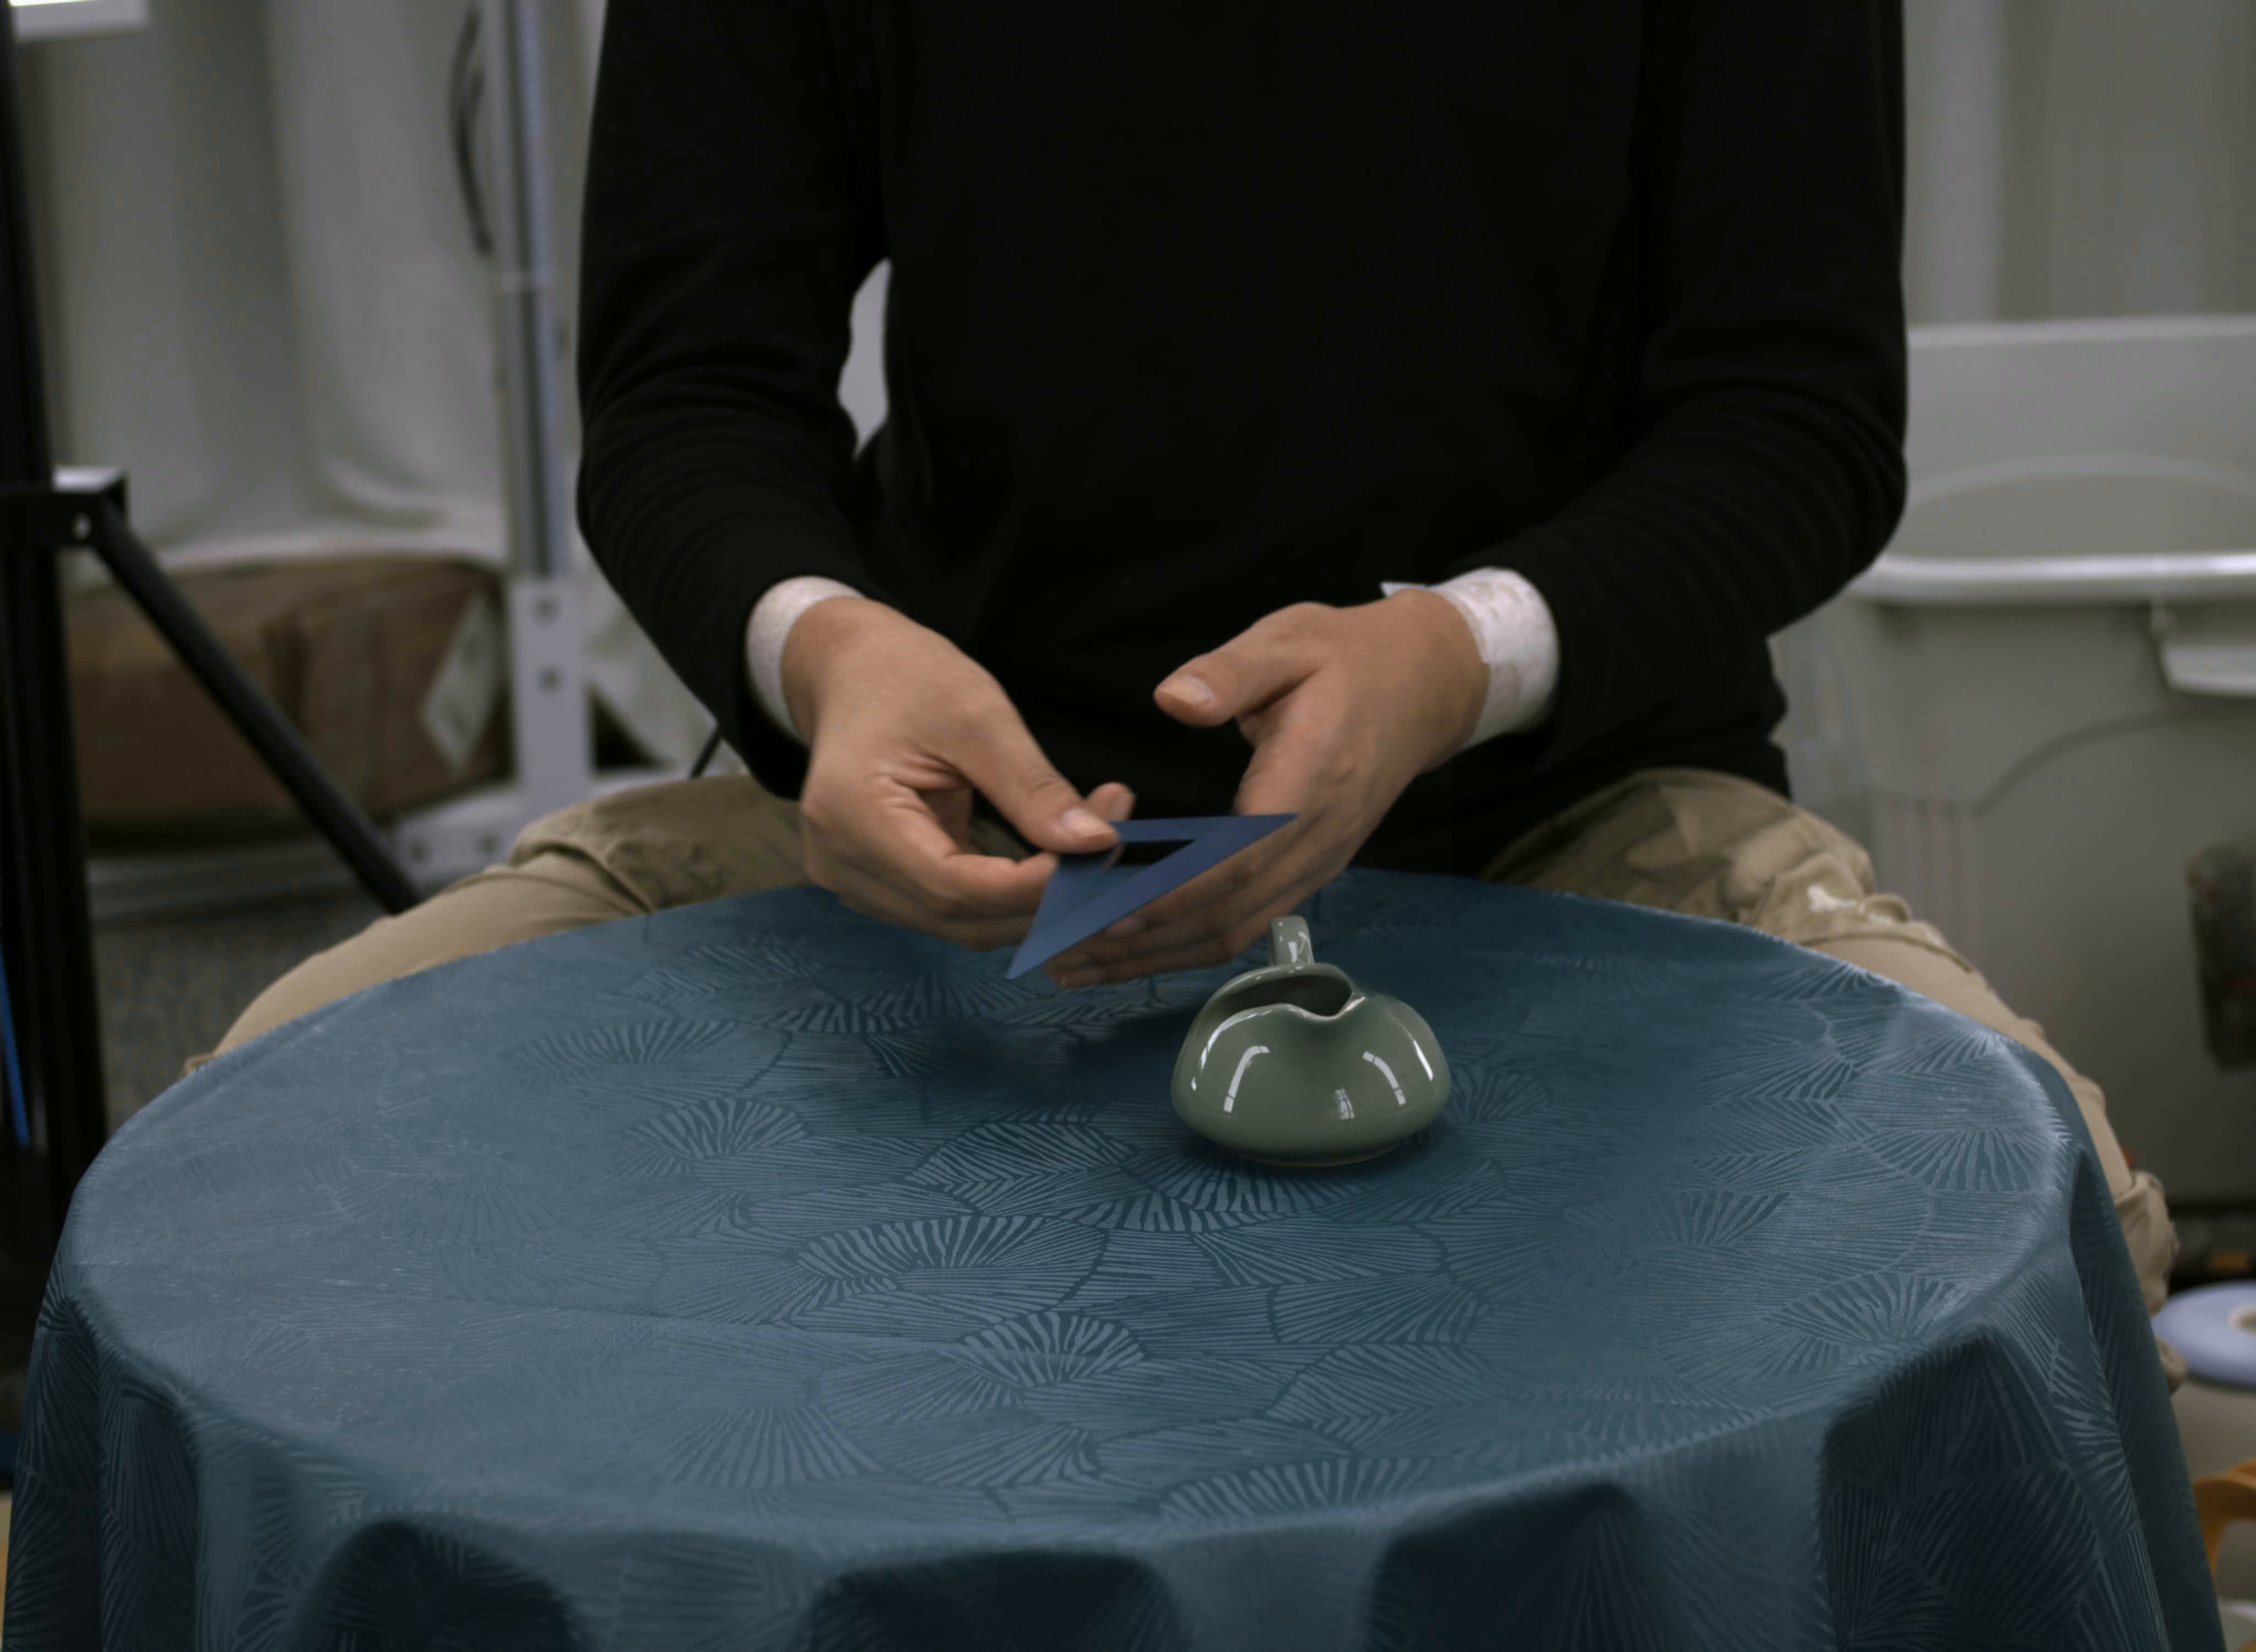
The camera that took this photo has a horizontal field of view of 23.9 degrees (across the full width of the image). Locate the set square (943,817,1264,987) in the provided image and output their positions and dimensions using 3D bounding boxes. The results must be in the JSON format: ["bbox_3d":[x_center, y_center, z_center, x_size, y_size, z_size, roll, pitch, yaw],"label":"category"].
[{"bbox_3d":[-0.022,0.018,1.606,0.062,0.006,0.129,14,31,43],"label":"set square"}]

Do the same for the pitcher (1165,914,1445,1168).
[{"bbox_3d":[0.053,0.066,1.595,0.083,0.056,0.113,-1,16,-5],"label":"pitcher"}]
